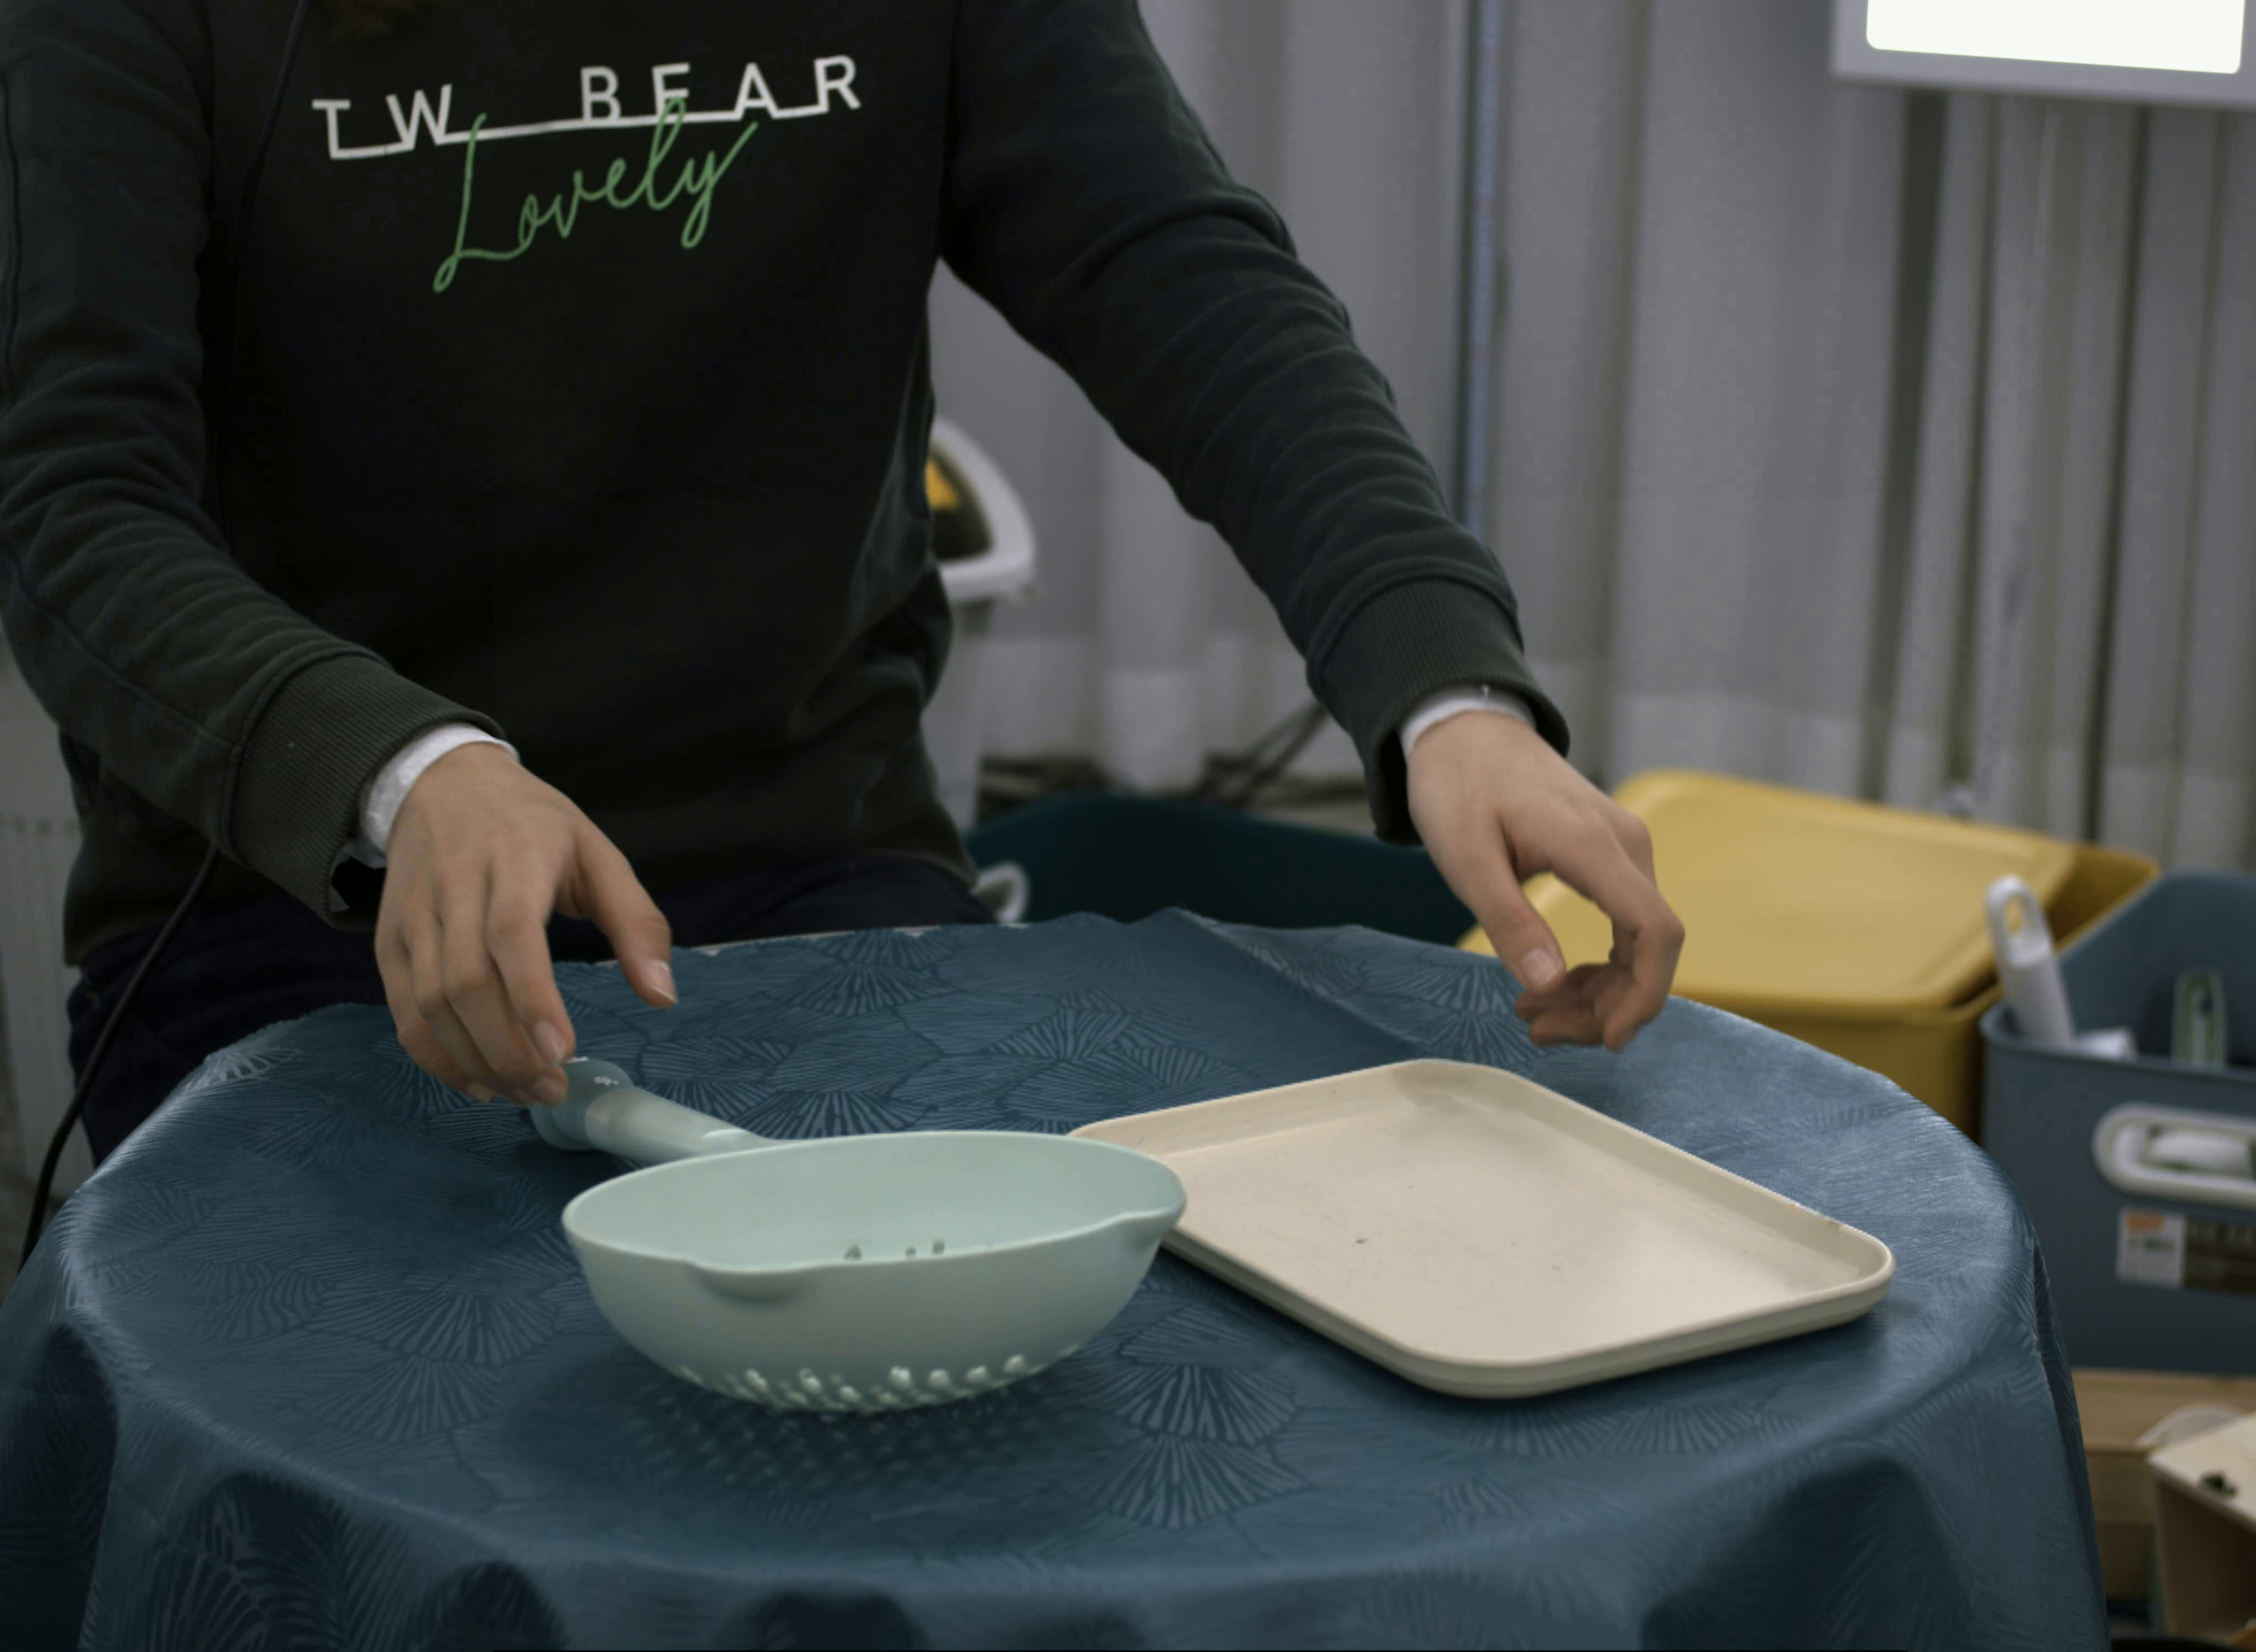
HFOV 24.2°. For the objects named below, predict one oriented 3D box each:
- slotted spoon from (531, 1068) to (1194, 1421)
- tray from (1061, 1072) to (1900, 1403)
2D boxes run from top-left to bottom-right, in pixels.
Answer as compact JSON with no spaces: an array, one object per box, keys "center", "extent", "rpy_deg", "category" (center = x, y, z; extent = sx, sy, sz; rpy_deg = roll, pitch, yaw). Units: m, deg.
[{"center":[-0.112,0.105,1.535],"extent":[0.170,0.076,0.354],"rpy_deg":[-6,16,-25],"category":"slotted spoon"},{"center":[0.101,0.121,1.573],"extent":[0.172,0.017,0.236],"rpy_deg":[-9,18,-32],"category":"tray"}]
